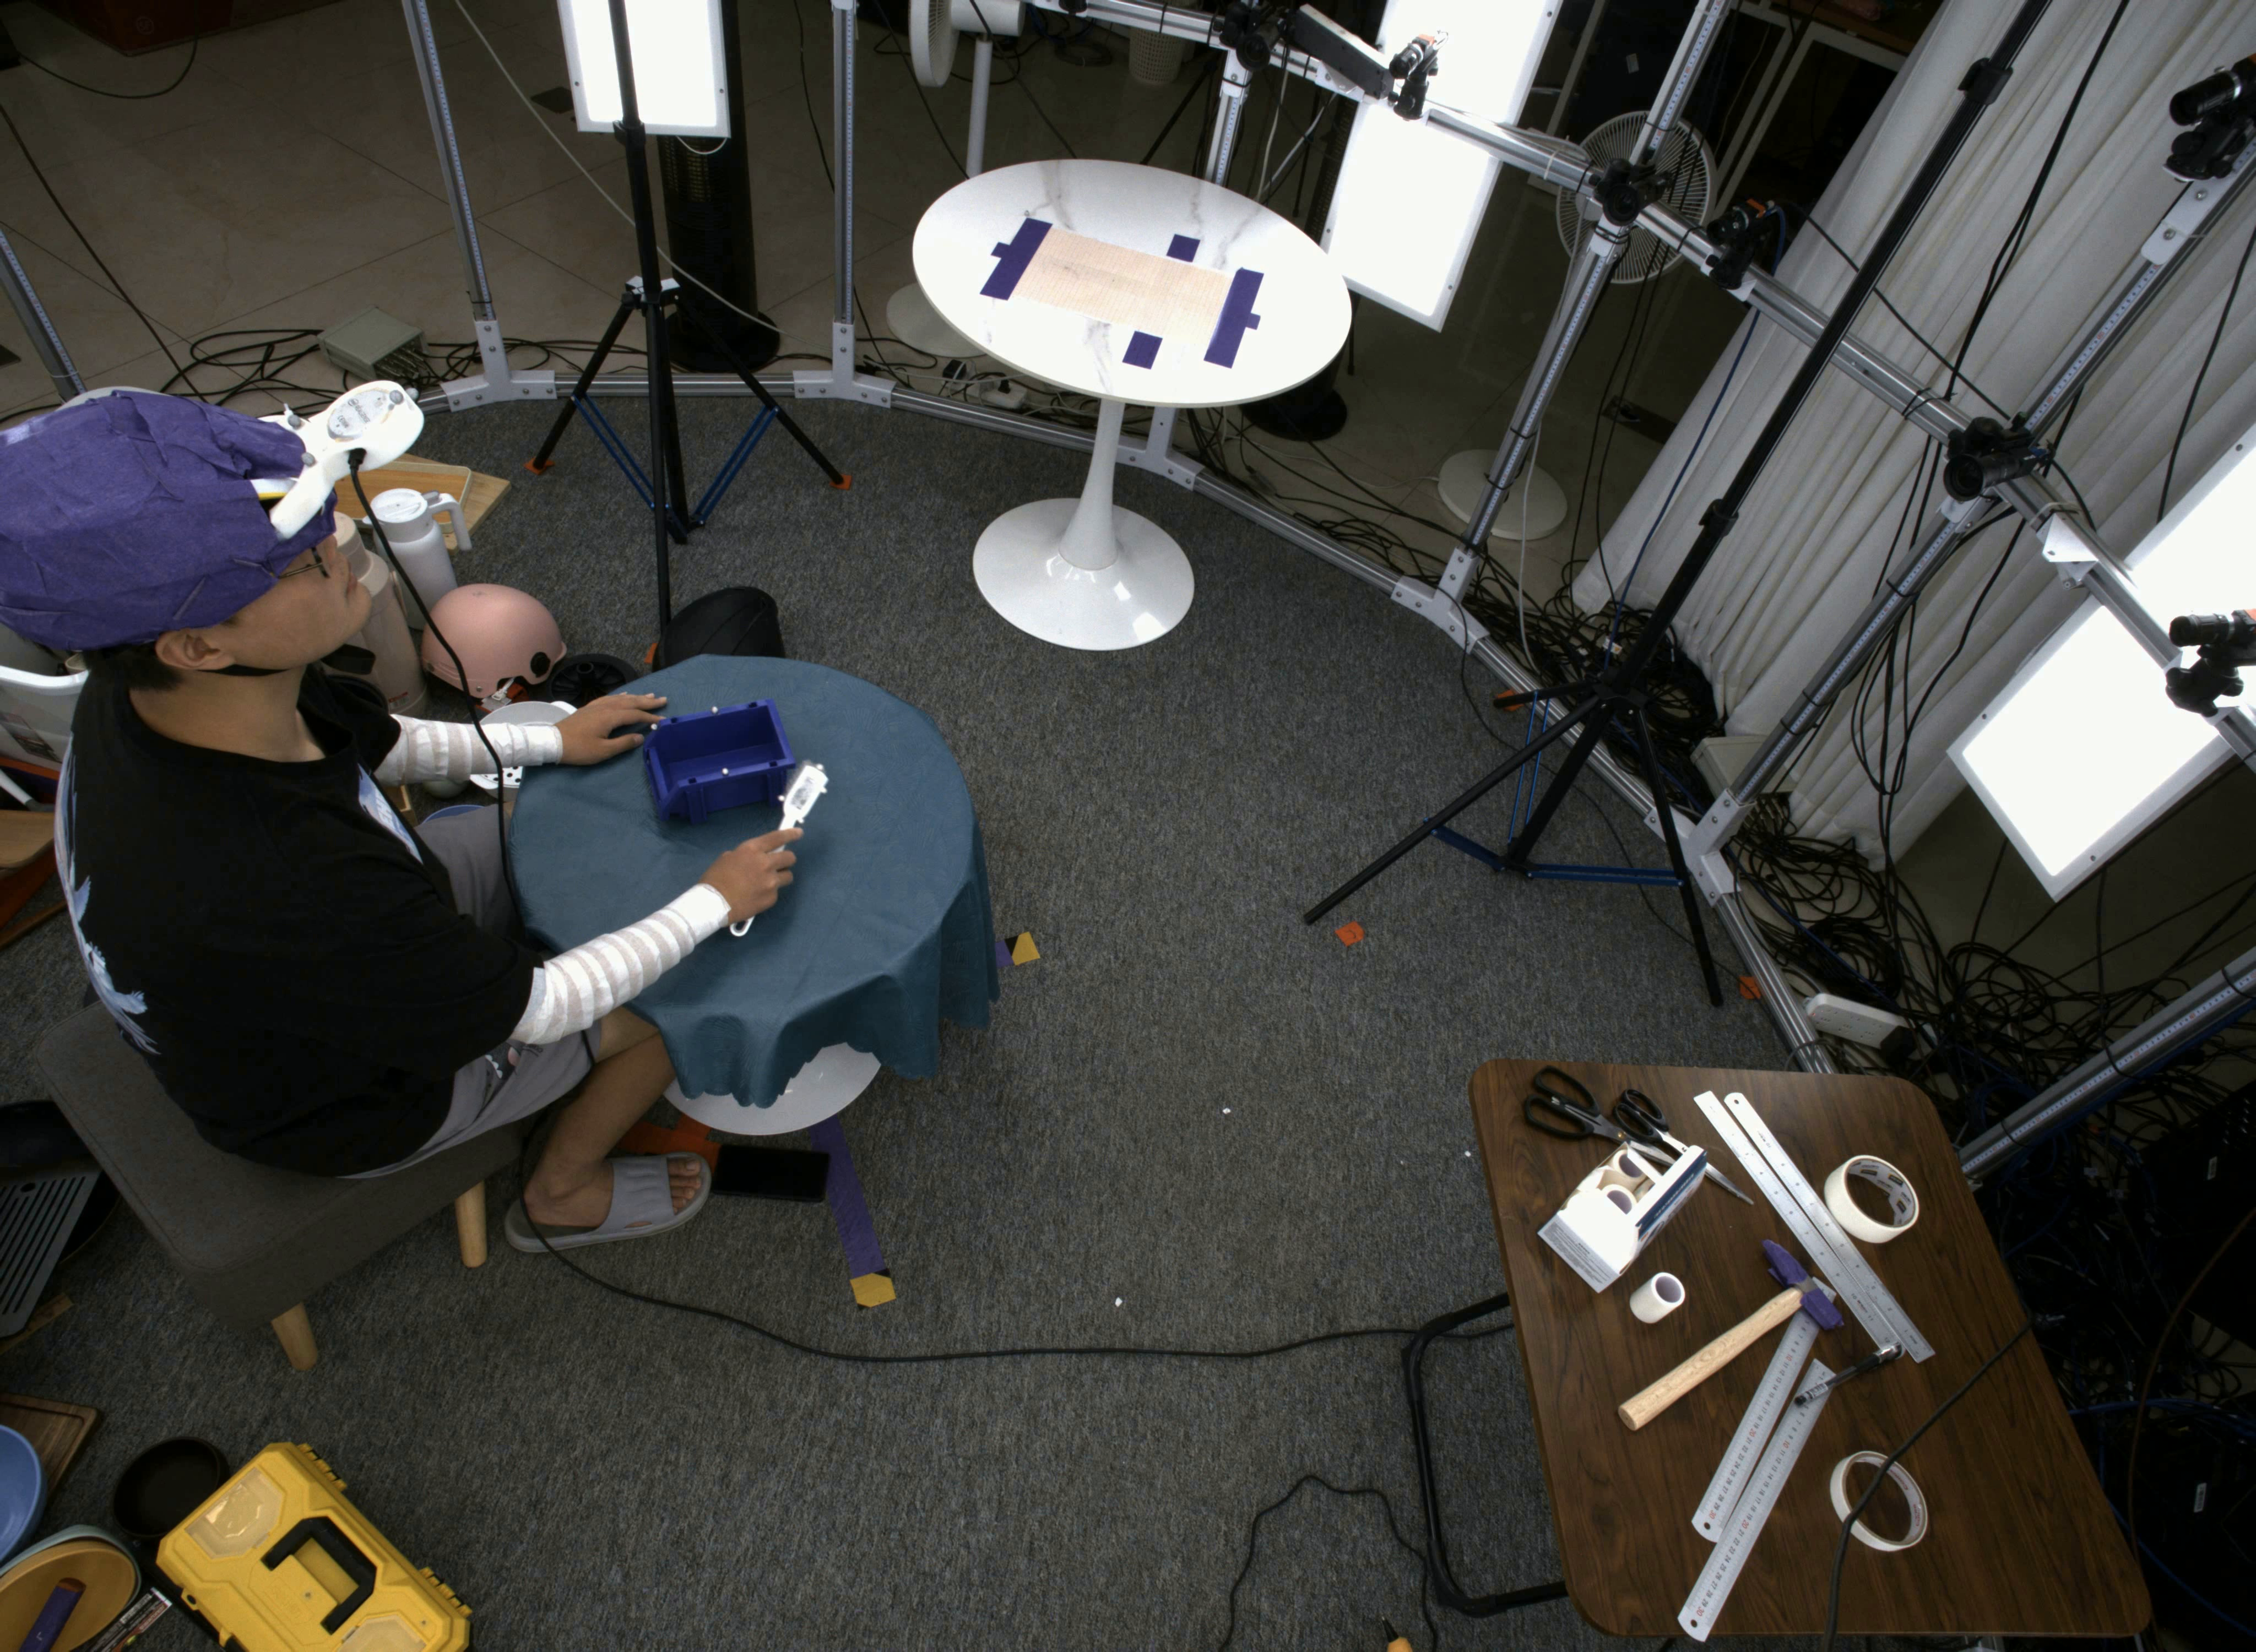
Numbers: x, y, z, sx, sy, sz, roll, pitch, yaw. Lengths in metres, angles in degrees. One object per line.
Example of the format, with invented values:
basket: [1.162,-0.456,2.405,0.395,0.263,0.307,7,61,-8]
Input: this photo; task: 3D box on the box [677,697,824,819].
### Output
box: [-0.506,-0.088,1.727,0.180,0.083,0.121,-10,57,-22]

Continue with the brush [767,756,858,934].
brush: [-0.409,0.022,1.660,0.035,0.049,0.244,28,76,-27]
